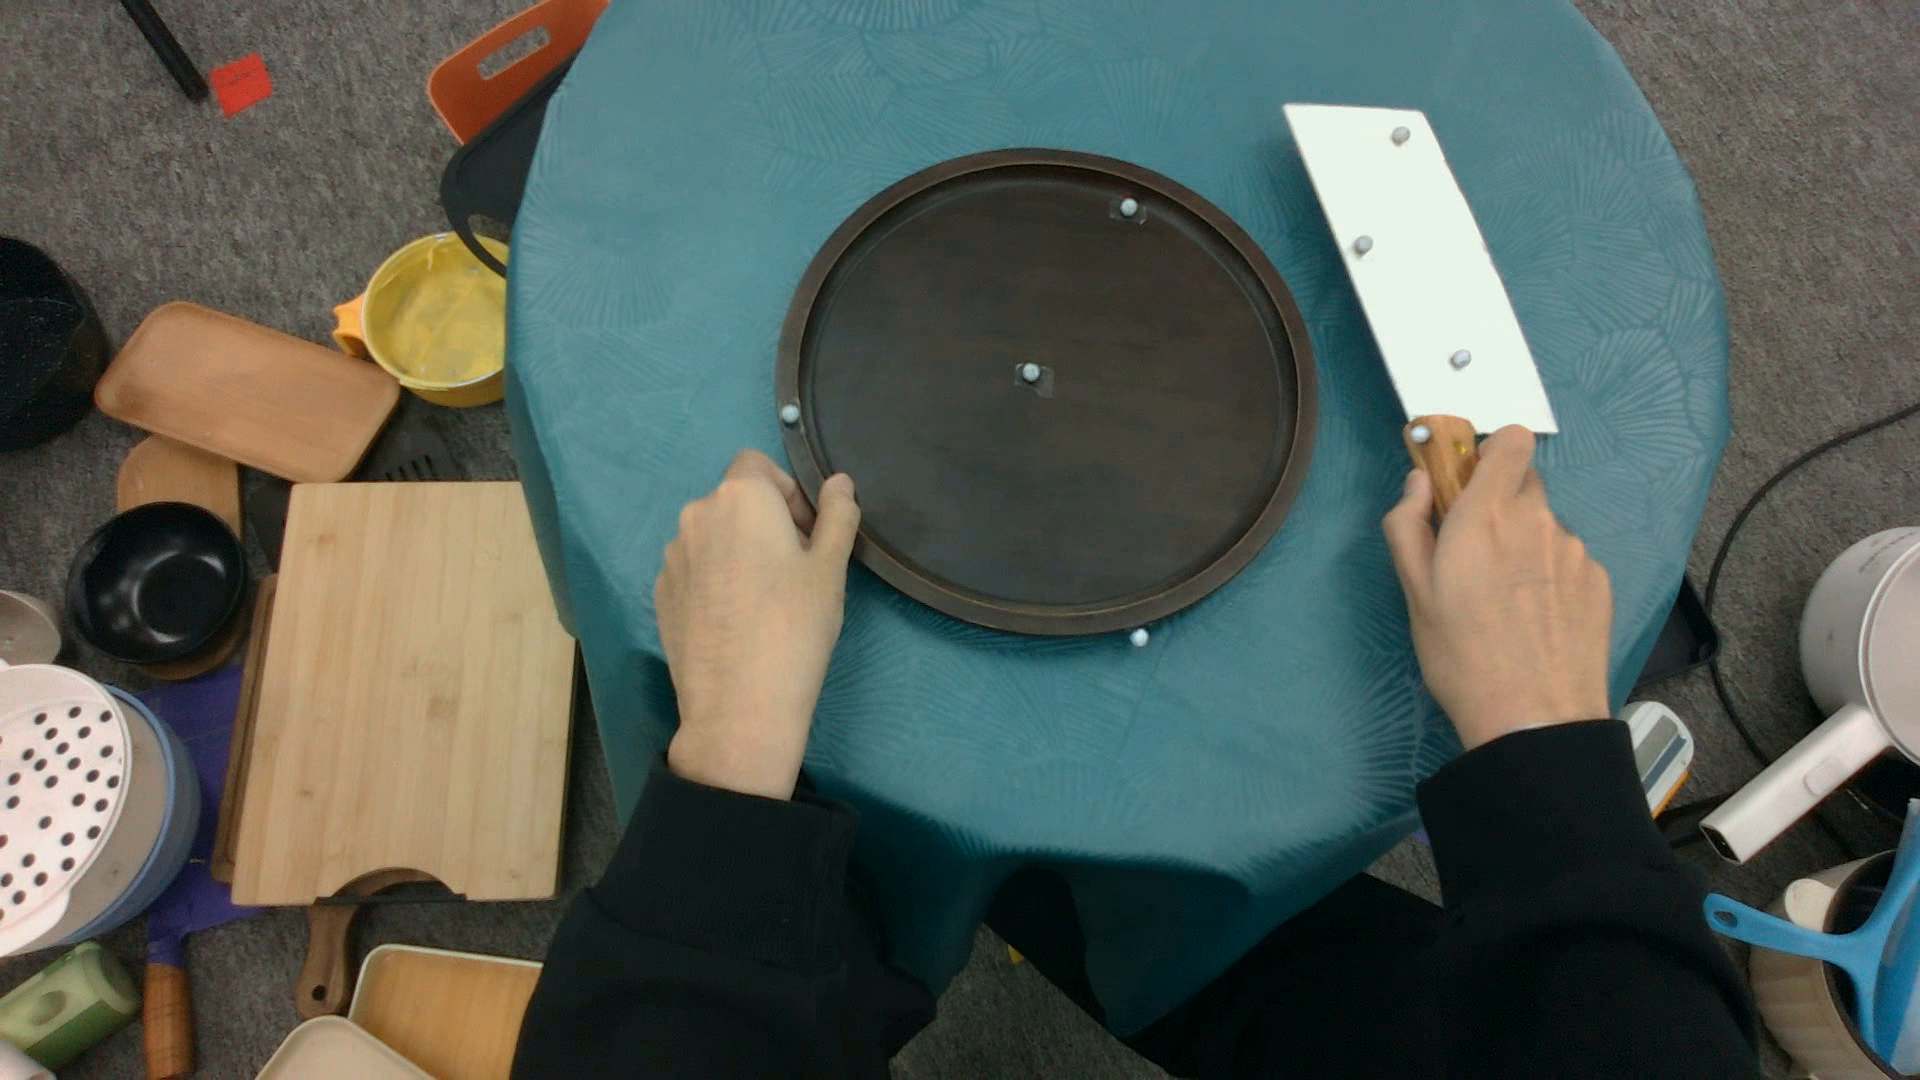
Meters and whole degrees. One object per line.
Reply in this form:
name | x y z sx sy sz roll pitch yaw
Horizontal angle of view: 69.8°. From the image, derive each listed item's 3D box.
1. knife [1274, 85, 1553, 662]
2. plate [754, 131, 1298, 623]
knife | 0.226 -0.091 0.651 0.093 0.021 0.306 -3 68 -29
plate | 0.032 -0.081 0.643 0.255 0.029 0.255 1 70 -2
